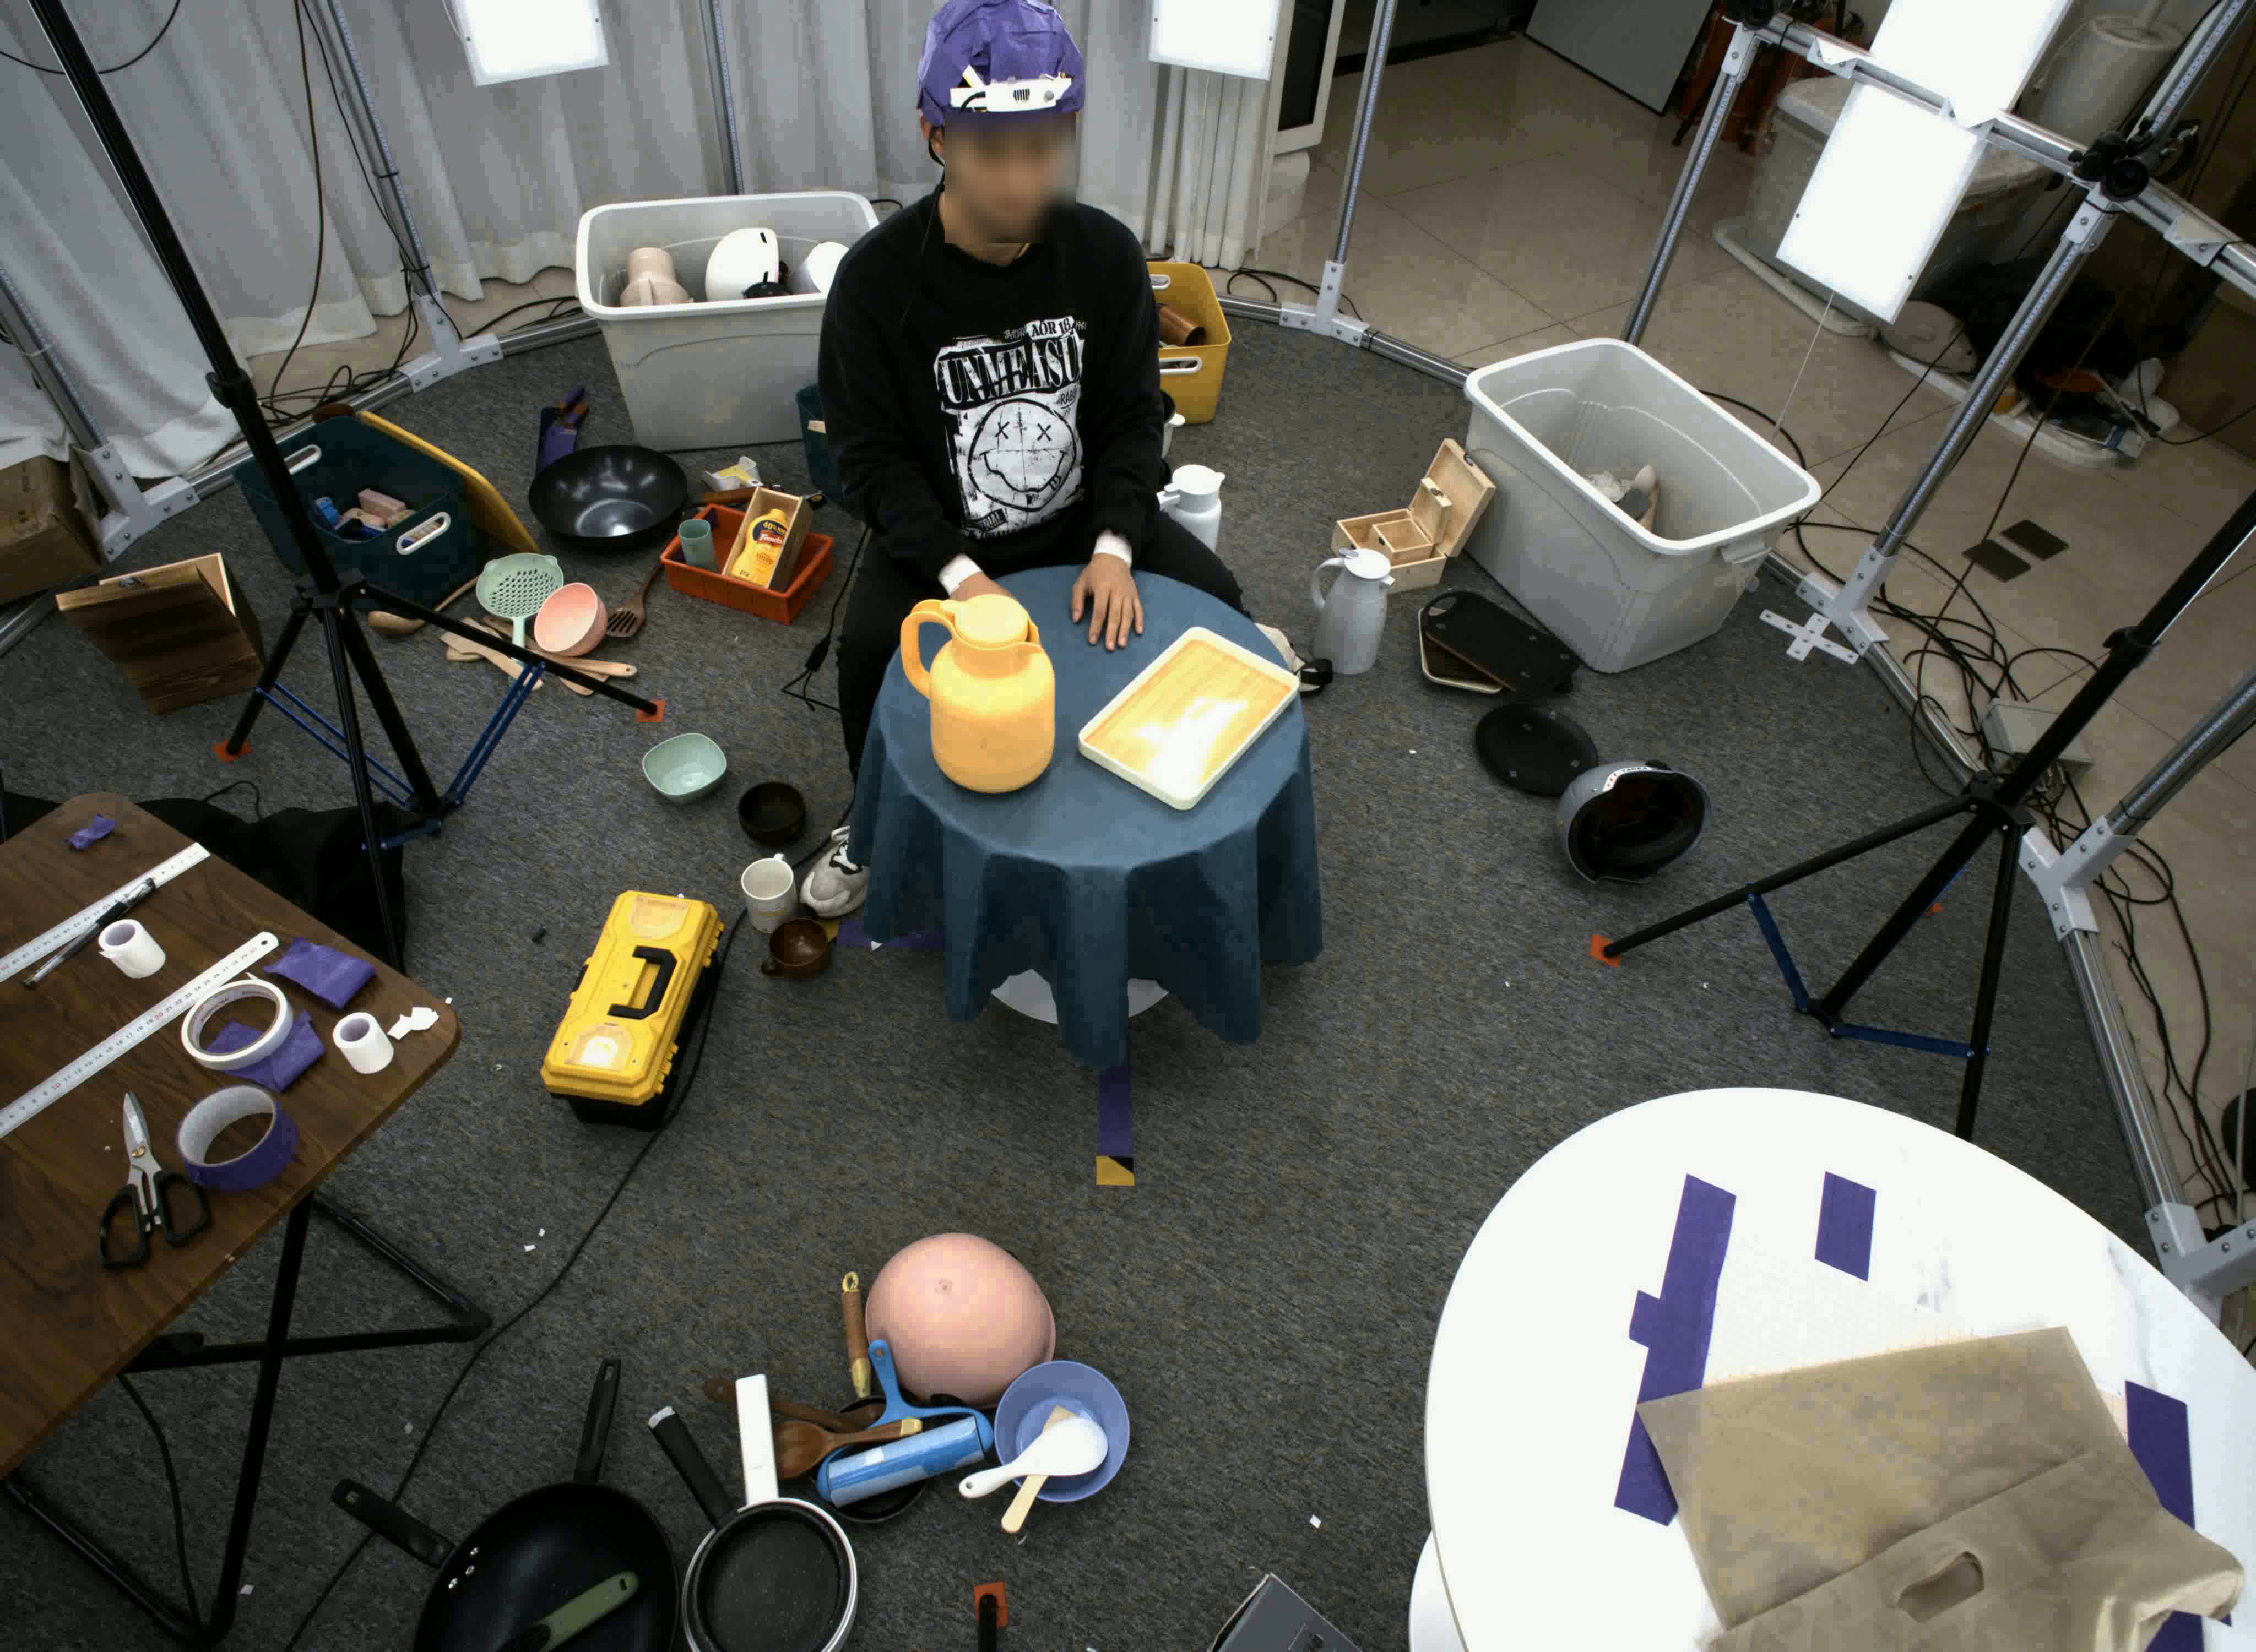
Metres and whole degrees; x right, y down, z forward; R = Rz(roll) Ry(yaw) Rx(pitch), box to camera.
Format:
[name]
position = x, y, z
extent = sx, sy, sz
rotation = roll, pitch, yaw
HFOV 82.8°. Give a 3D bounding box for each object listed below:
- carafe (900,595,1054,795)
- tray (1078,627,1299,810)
[carafe]
position = -0.193, -0.179, 1.647
extent = 0.203, 0.254, 0.166
rotation = 20, 49, 12
[tray]
position = 0.087, -0.157, 1.793
extent = 0.193, 0.027, 0.304
rotation = 30, 54, 21
